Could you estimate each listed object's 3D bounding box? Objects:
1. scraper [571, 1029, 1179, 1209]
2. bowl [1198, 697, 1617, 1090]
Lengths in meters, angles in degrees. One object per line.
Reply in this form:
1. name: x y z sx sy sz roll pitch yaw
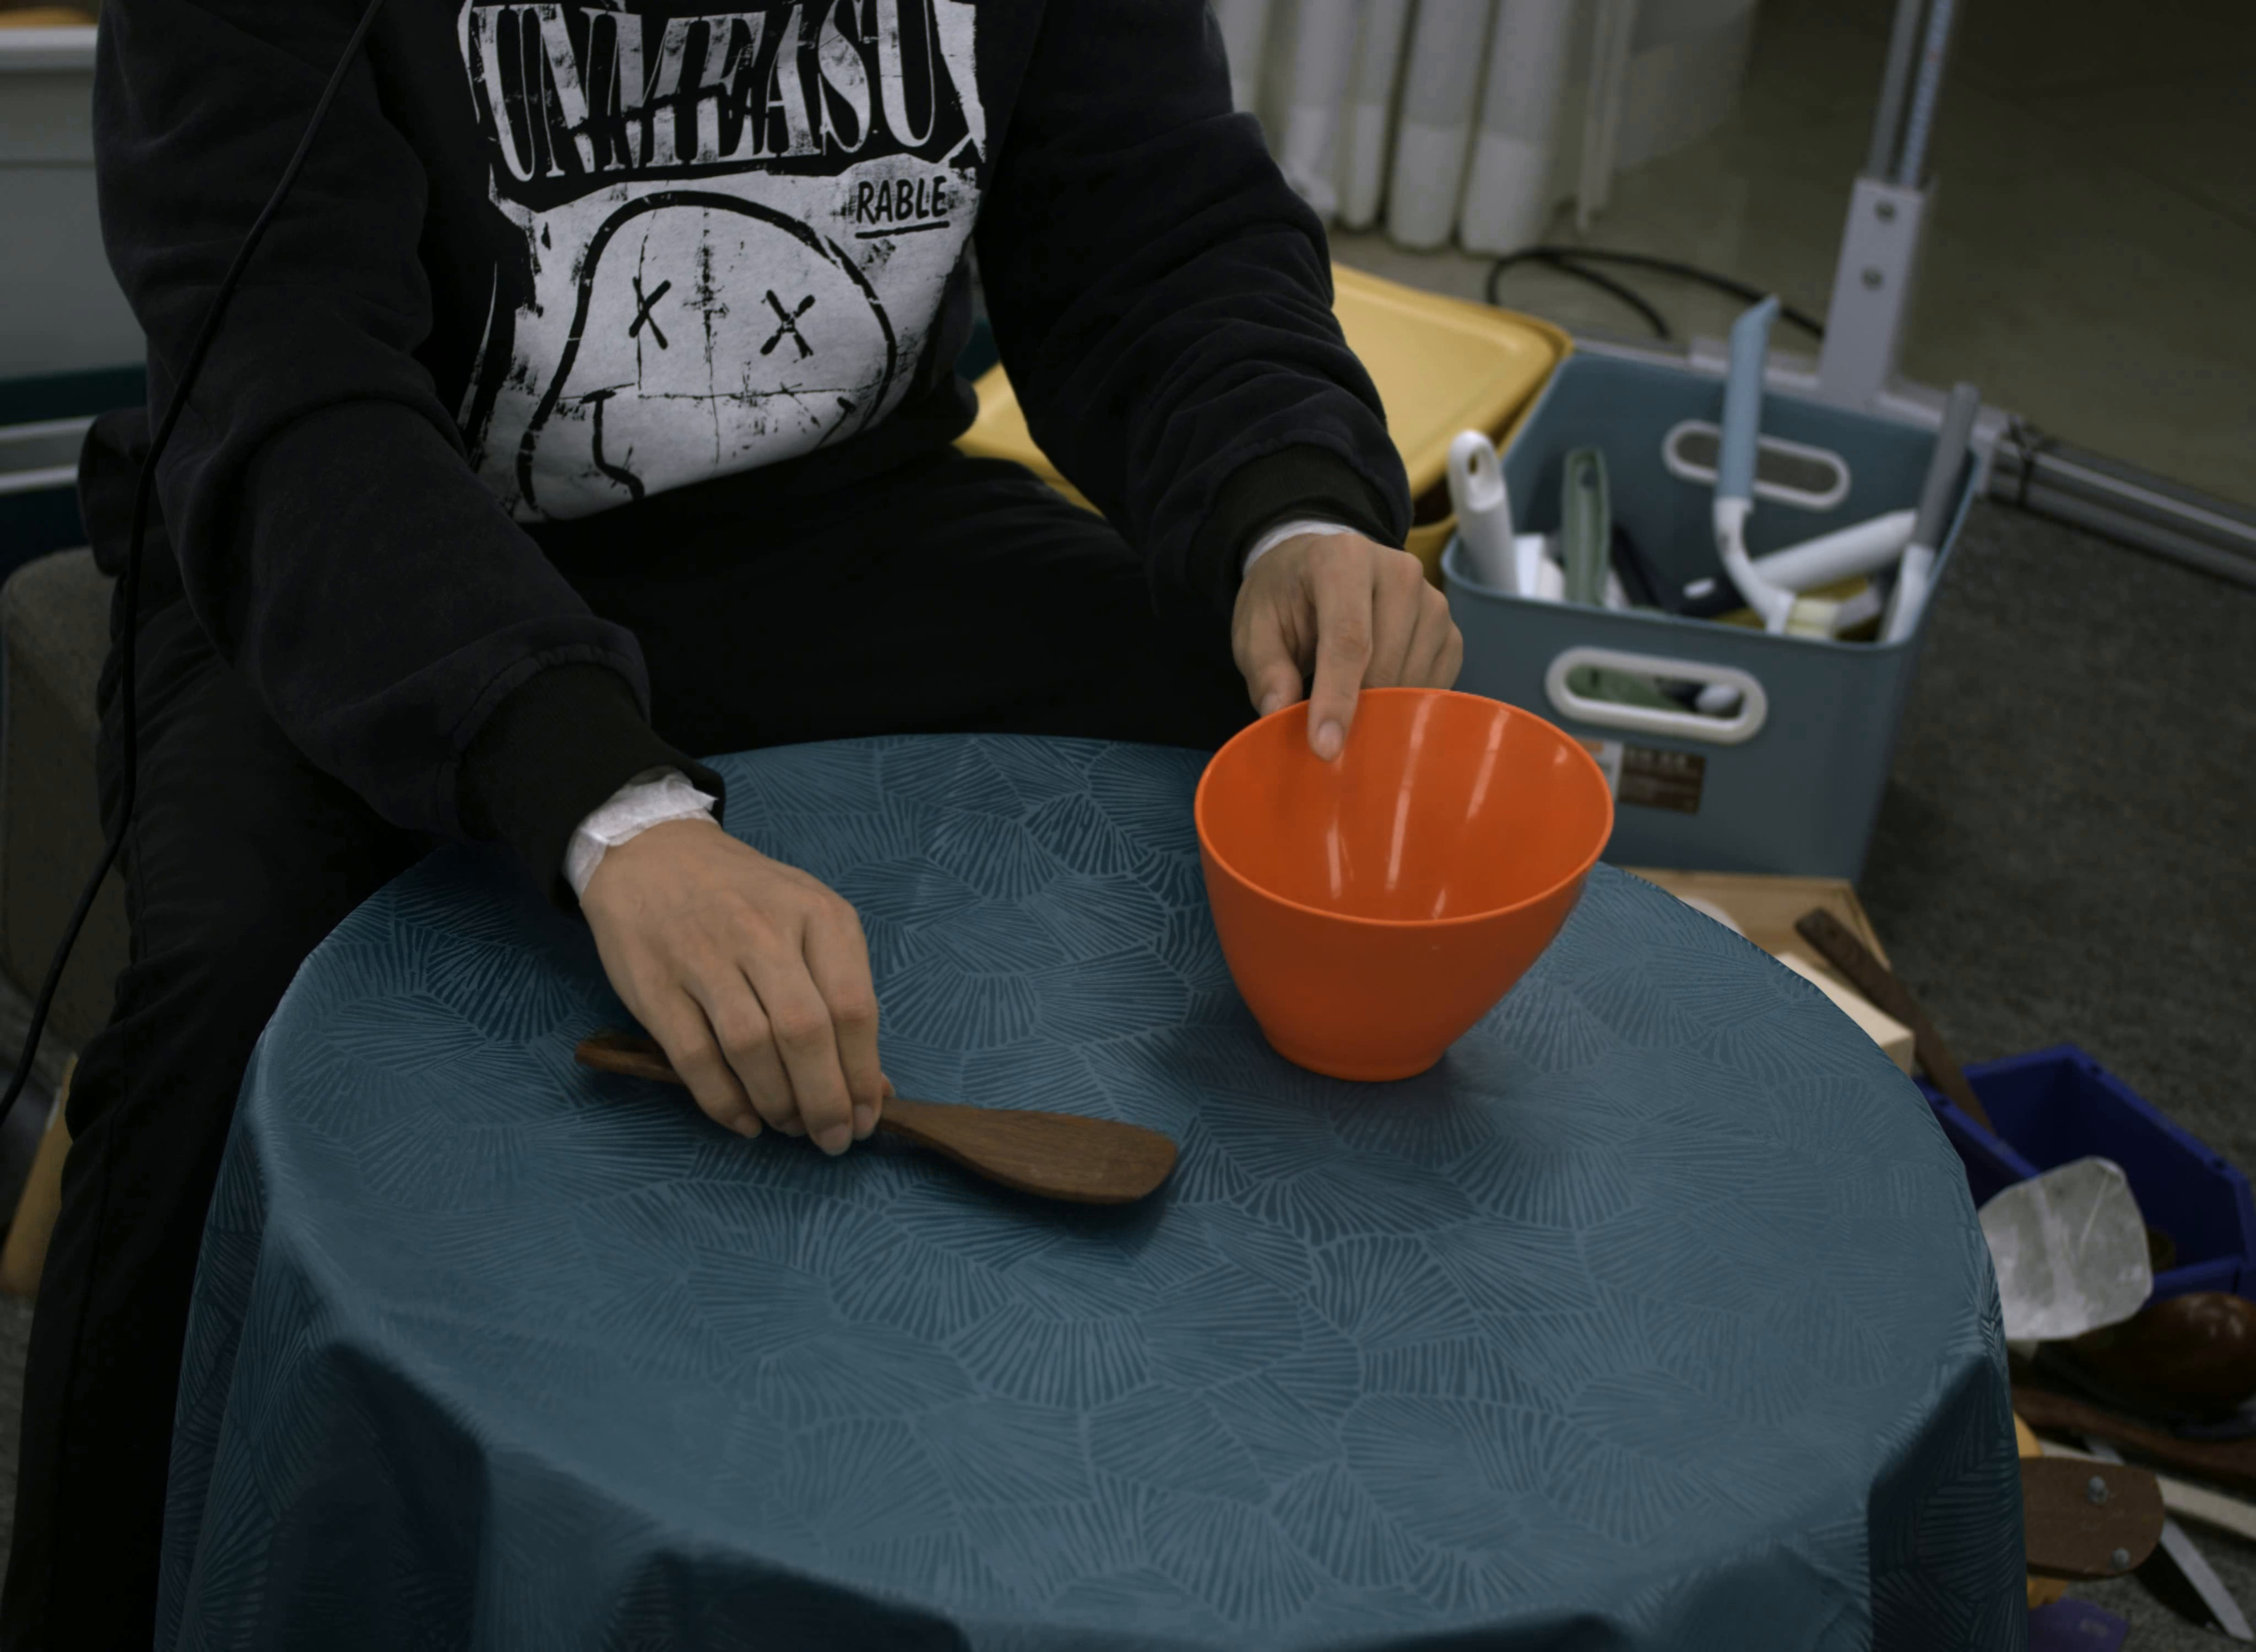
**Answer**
1. scraper: -0.087 0.097 1.809 0.211 0.011 0.076 13 18 8
2. bowl: 0.094 0.030 1.896 0.147 0.104 0.149 5 27 -3
